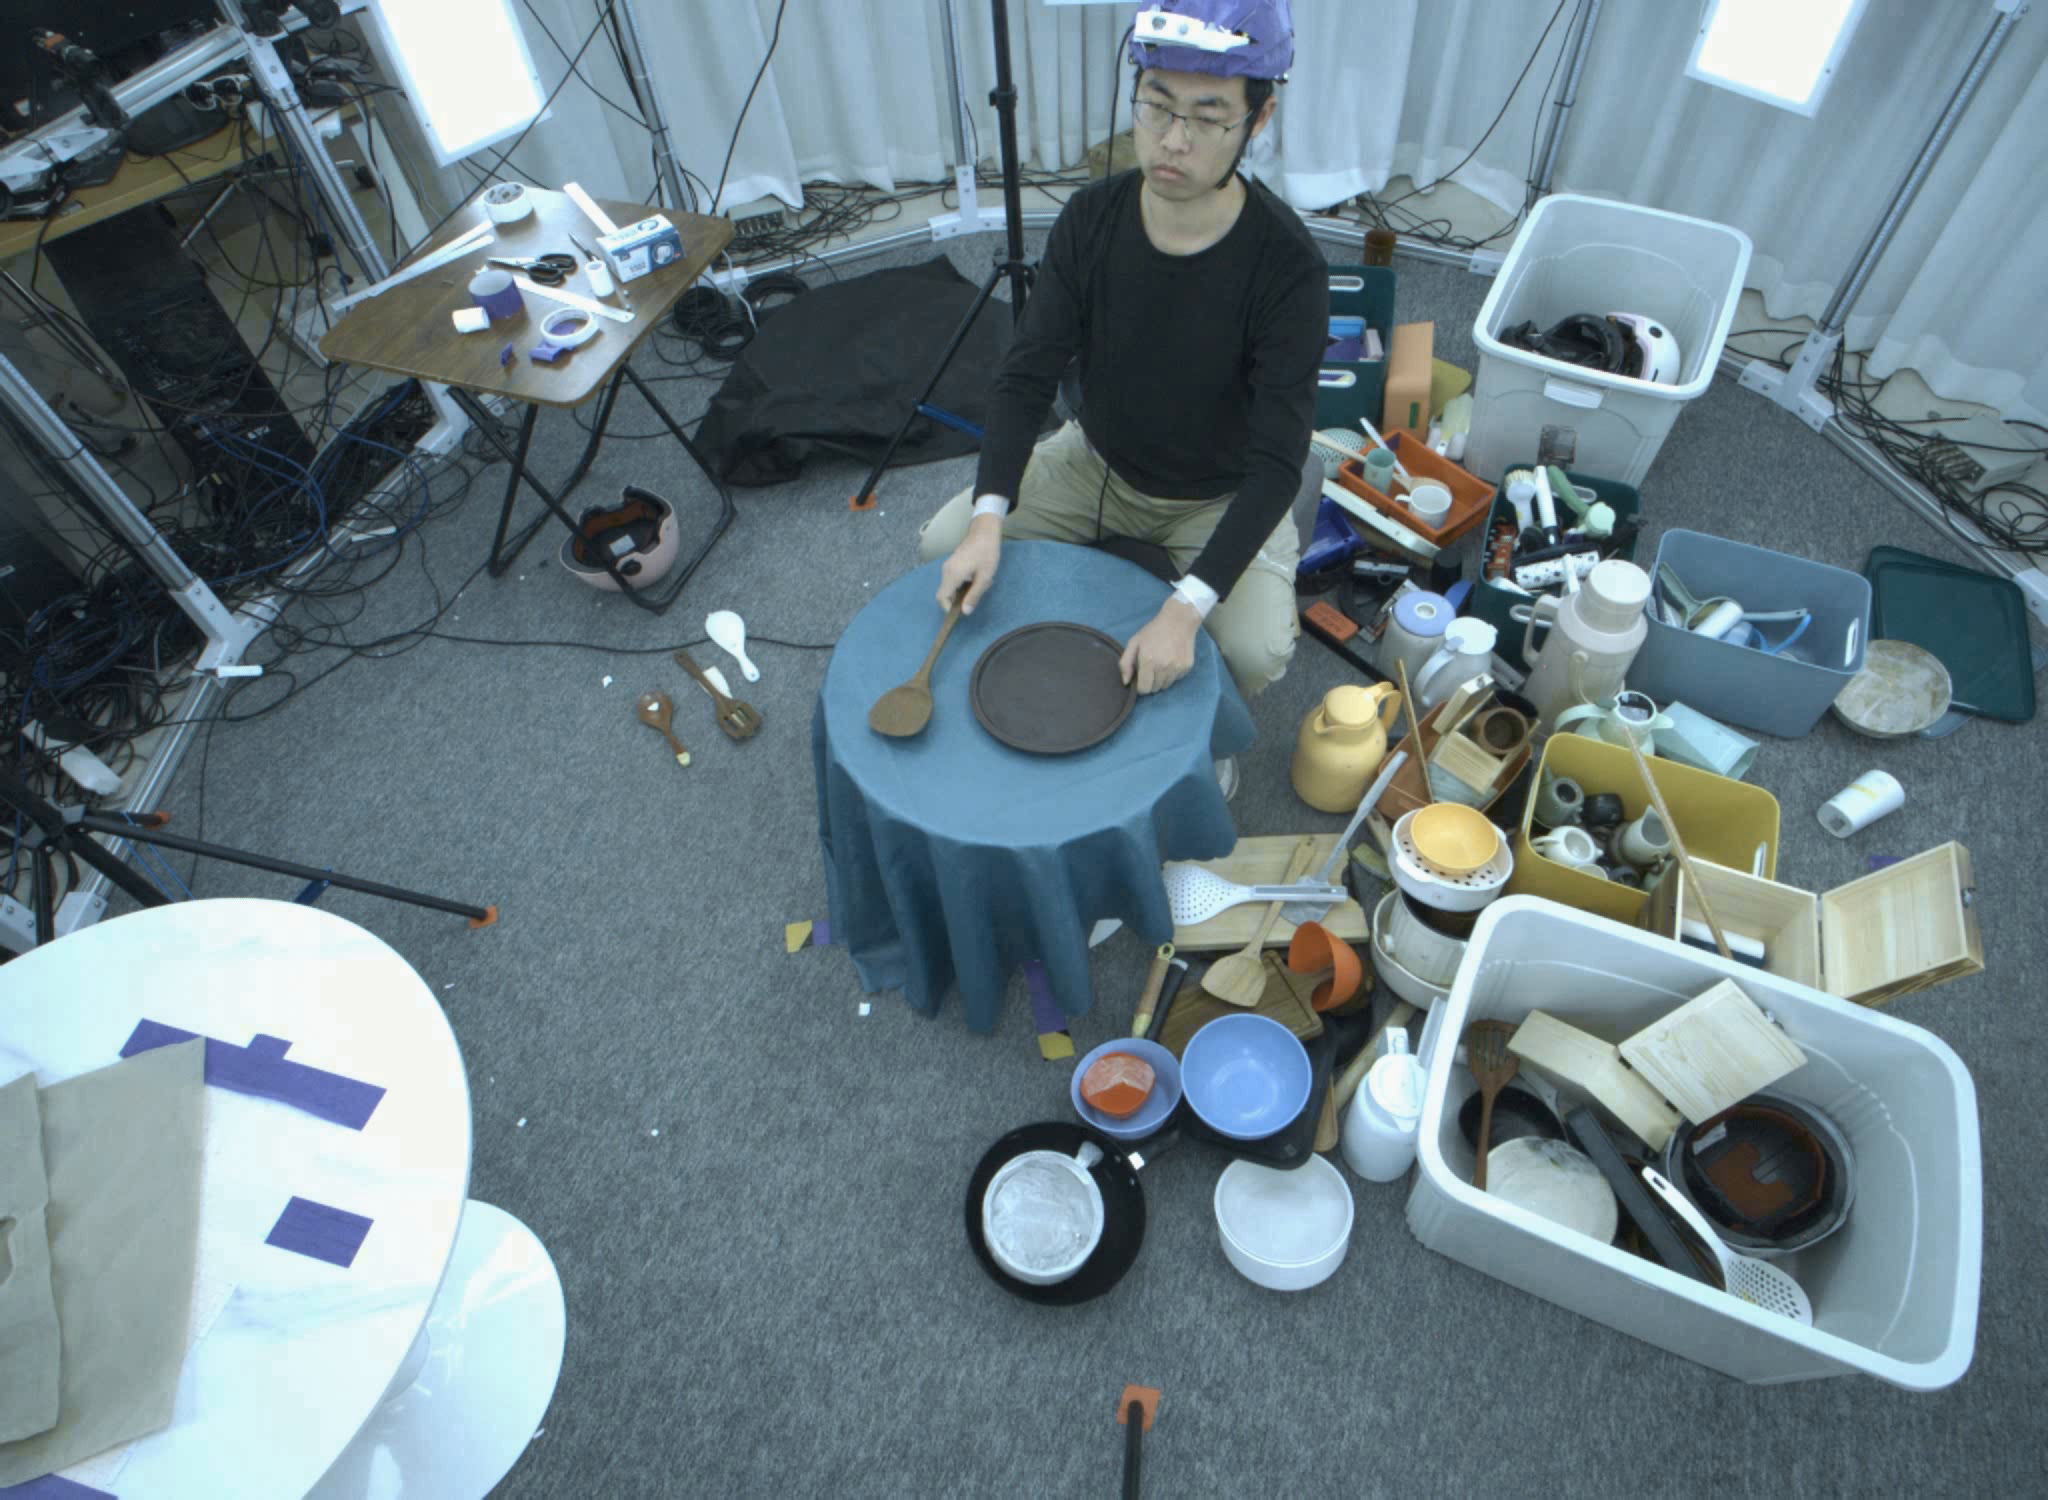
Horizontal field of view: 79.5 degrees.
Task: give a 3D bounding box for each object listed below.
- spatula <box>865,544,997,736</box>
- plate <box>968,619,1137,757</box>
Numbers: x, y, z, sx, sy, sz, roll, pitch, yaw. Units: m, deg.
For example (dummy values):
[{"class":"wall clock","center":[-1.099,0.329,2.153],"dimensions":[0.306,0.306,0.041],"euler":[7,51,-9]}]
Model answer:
[{"class":"spatula","center":[-0.125,-0.177,1.870],"dimensions":[0.095,0.016,0.385],"euler":[15,61,20]},{"class":"plate","center":[0.042,-0.094,1.839],"dimensions":[0.254,0.029,0.252],"euler":[-1,56,2]}]
